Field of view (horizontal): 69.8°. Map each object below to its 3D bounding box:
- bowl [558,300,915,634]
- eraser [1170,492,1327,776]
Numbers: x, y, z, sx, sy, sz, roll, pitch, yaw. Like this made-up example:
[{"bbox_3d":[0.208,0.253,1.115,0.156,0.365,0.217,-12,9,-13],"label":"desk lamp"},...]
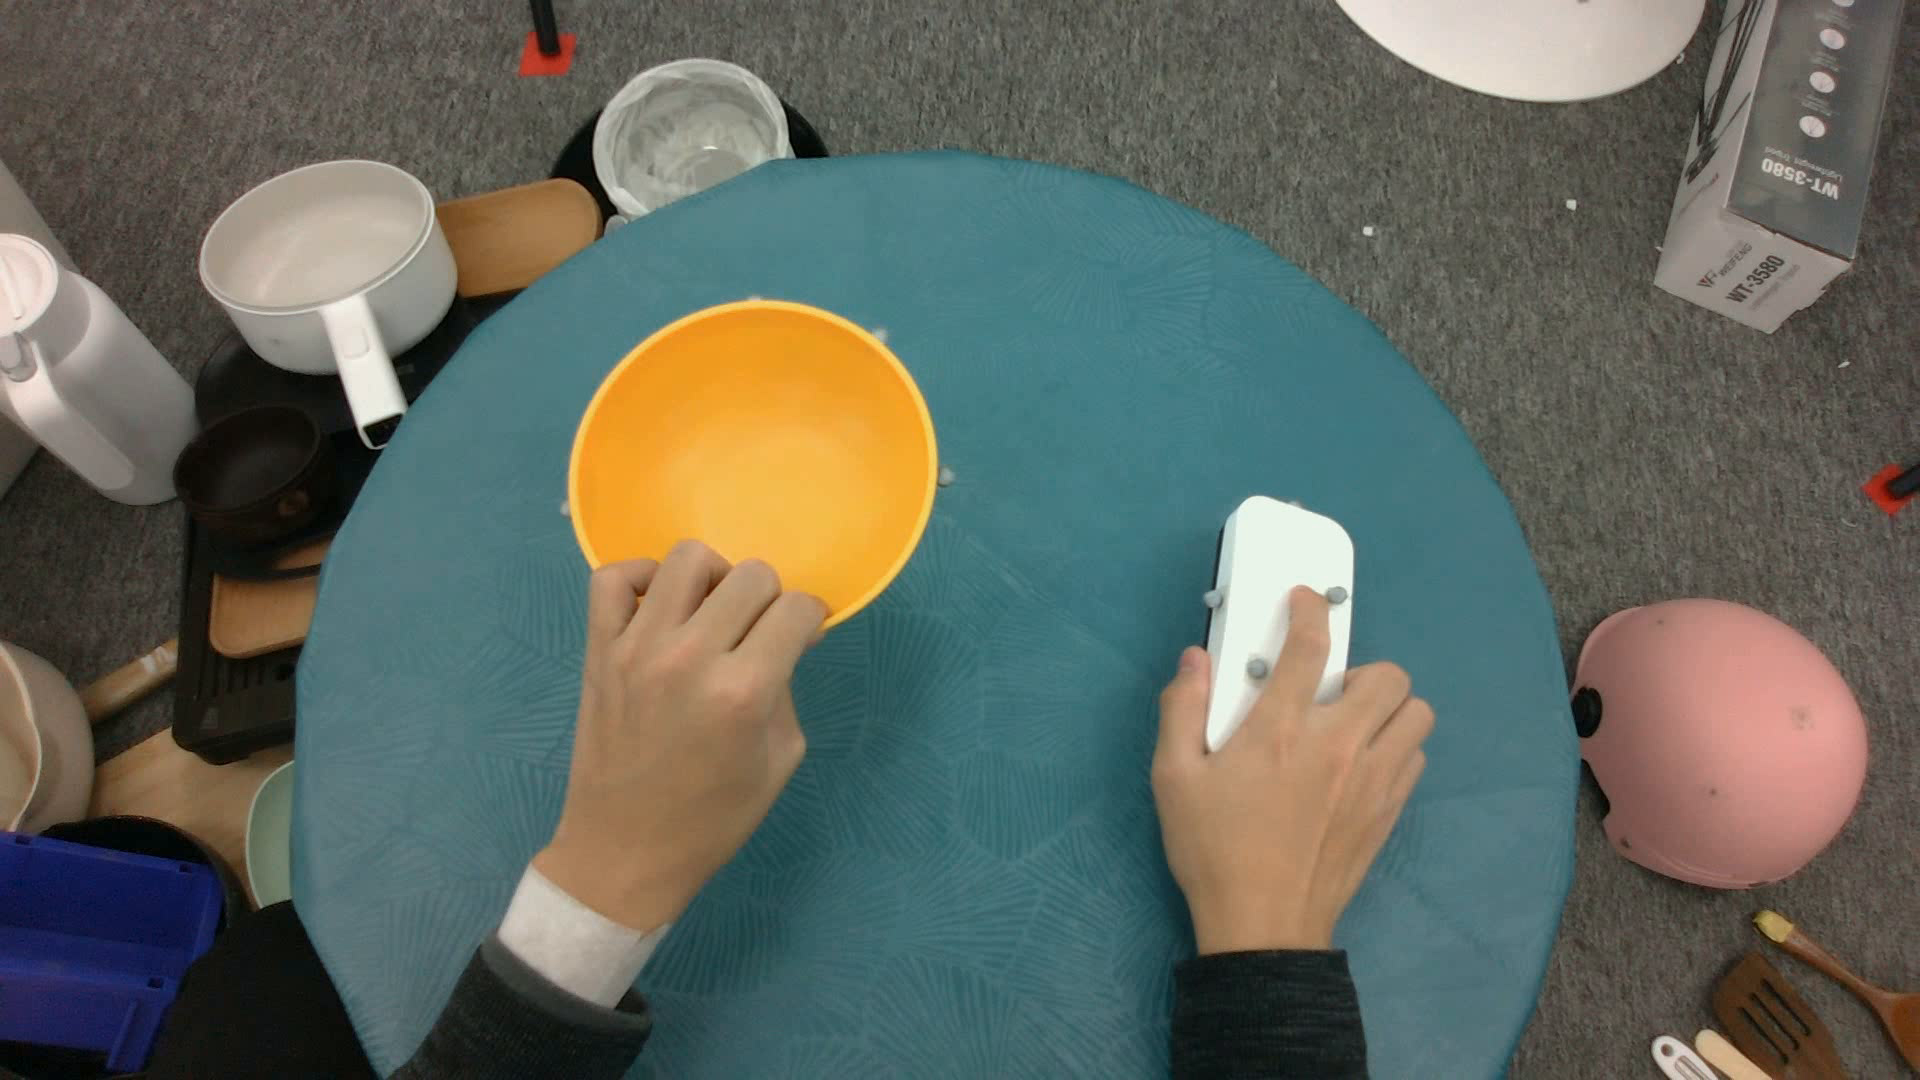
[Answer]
[{"bbox_3d":[-0.089,-0.024,0.580,0.145,0.060,0.145,0,73,2],"label":"bowl"},{"bbox_3d":[0.133,0.042,0.638,0.063,0.034,0.132,16,65,-9],"label":"eraser"}]
